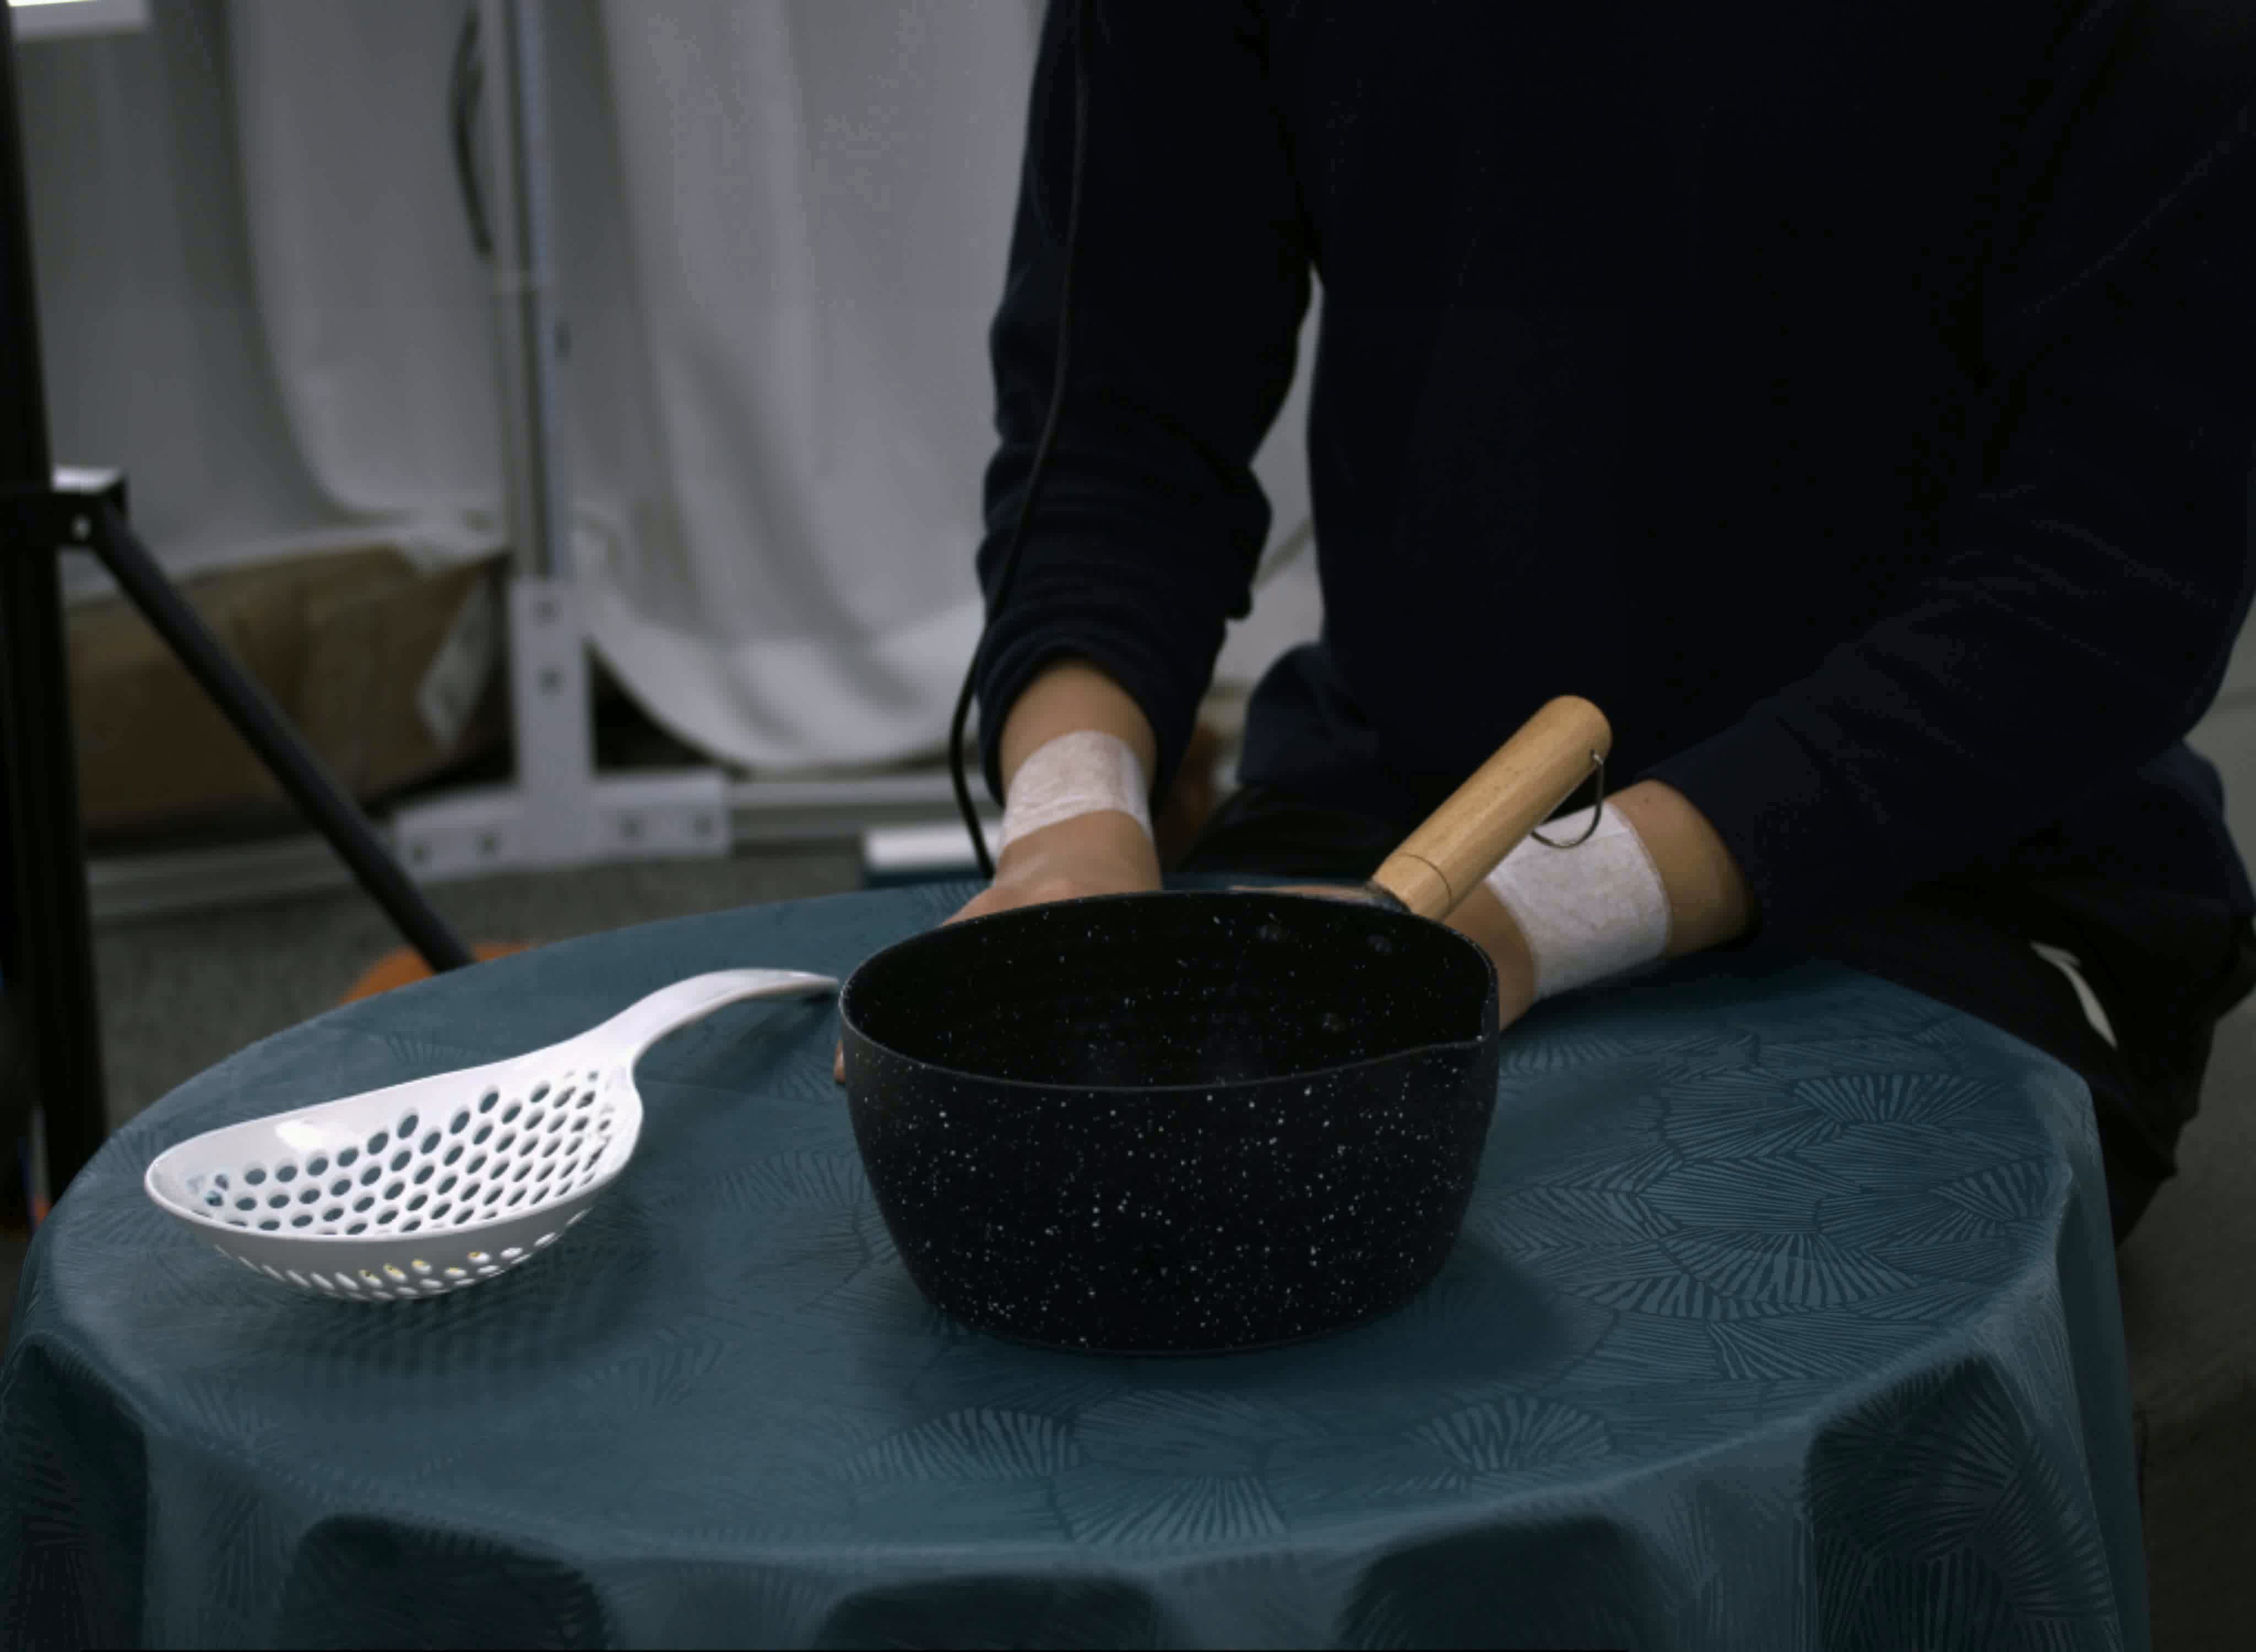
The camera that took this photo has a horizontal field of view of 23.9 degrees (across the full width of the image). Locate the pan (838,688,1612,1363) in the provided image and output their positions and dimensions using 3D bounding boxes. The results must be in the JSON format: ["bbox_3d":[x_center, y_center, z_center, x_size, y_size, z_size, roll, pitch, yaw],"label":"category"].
[{"bbox_3d":[0.053,0.053,1.546,0.211,0.108,0.336,6,19,32],"label":"pan"}]

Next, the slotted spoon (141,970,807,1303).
[{"bbox_3d":[-0.167,0.080,1.606,0.138,0.050,0.343,2,18,22],"label":"slotted spoon"}]
